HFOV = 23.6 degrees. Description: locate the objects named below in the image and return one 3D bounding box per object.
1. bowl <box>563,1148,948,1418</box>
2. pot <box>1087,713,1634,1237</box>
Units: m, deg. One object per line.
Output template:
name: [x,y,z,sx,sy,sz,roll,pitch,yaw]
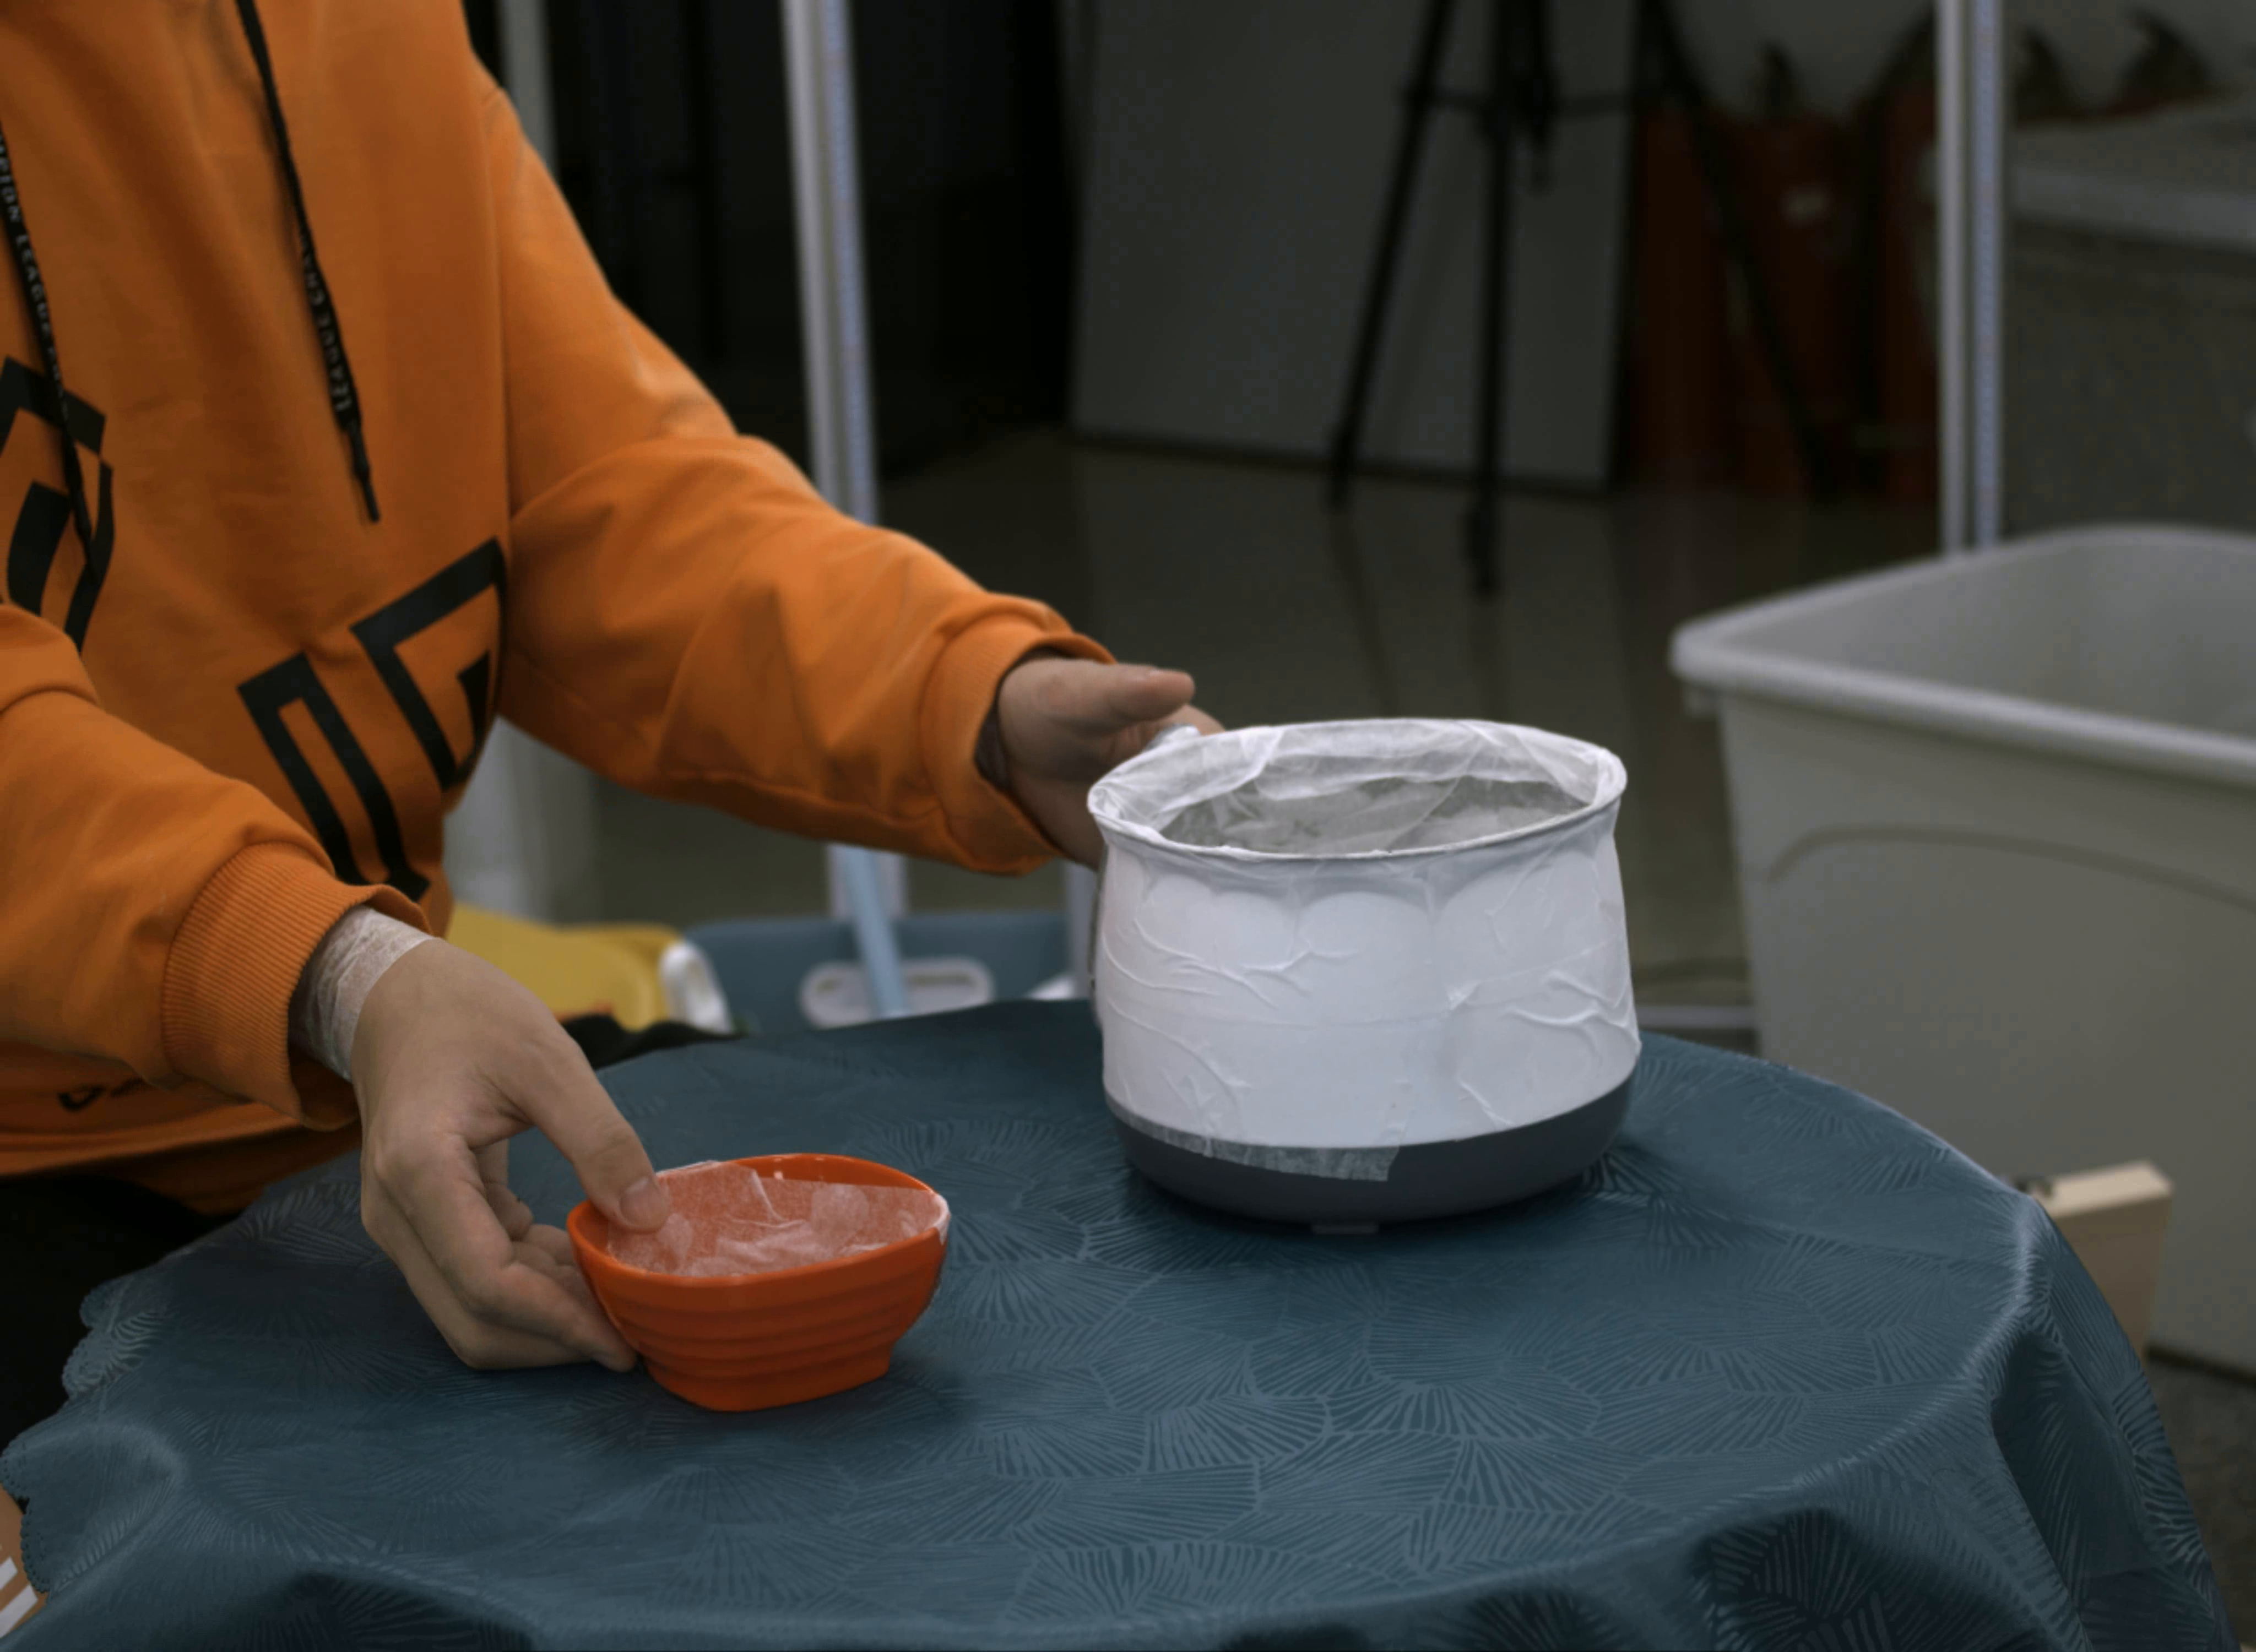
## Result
bowl: [-0.110,0.139,1.621,0.117,0.052,0.119,-4,16,0]
pot: [0.061,0.042,1.783,0.175,0.138,0.236,-13,16,-34]
